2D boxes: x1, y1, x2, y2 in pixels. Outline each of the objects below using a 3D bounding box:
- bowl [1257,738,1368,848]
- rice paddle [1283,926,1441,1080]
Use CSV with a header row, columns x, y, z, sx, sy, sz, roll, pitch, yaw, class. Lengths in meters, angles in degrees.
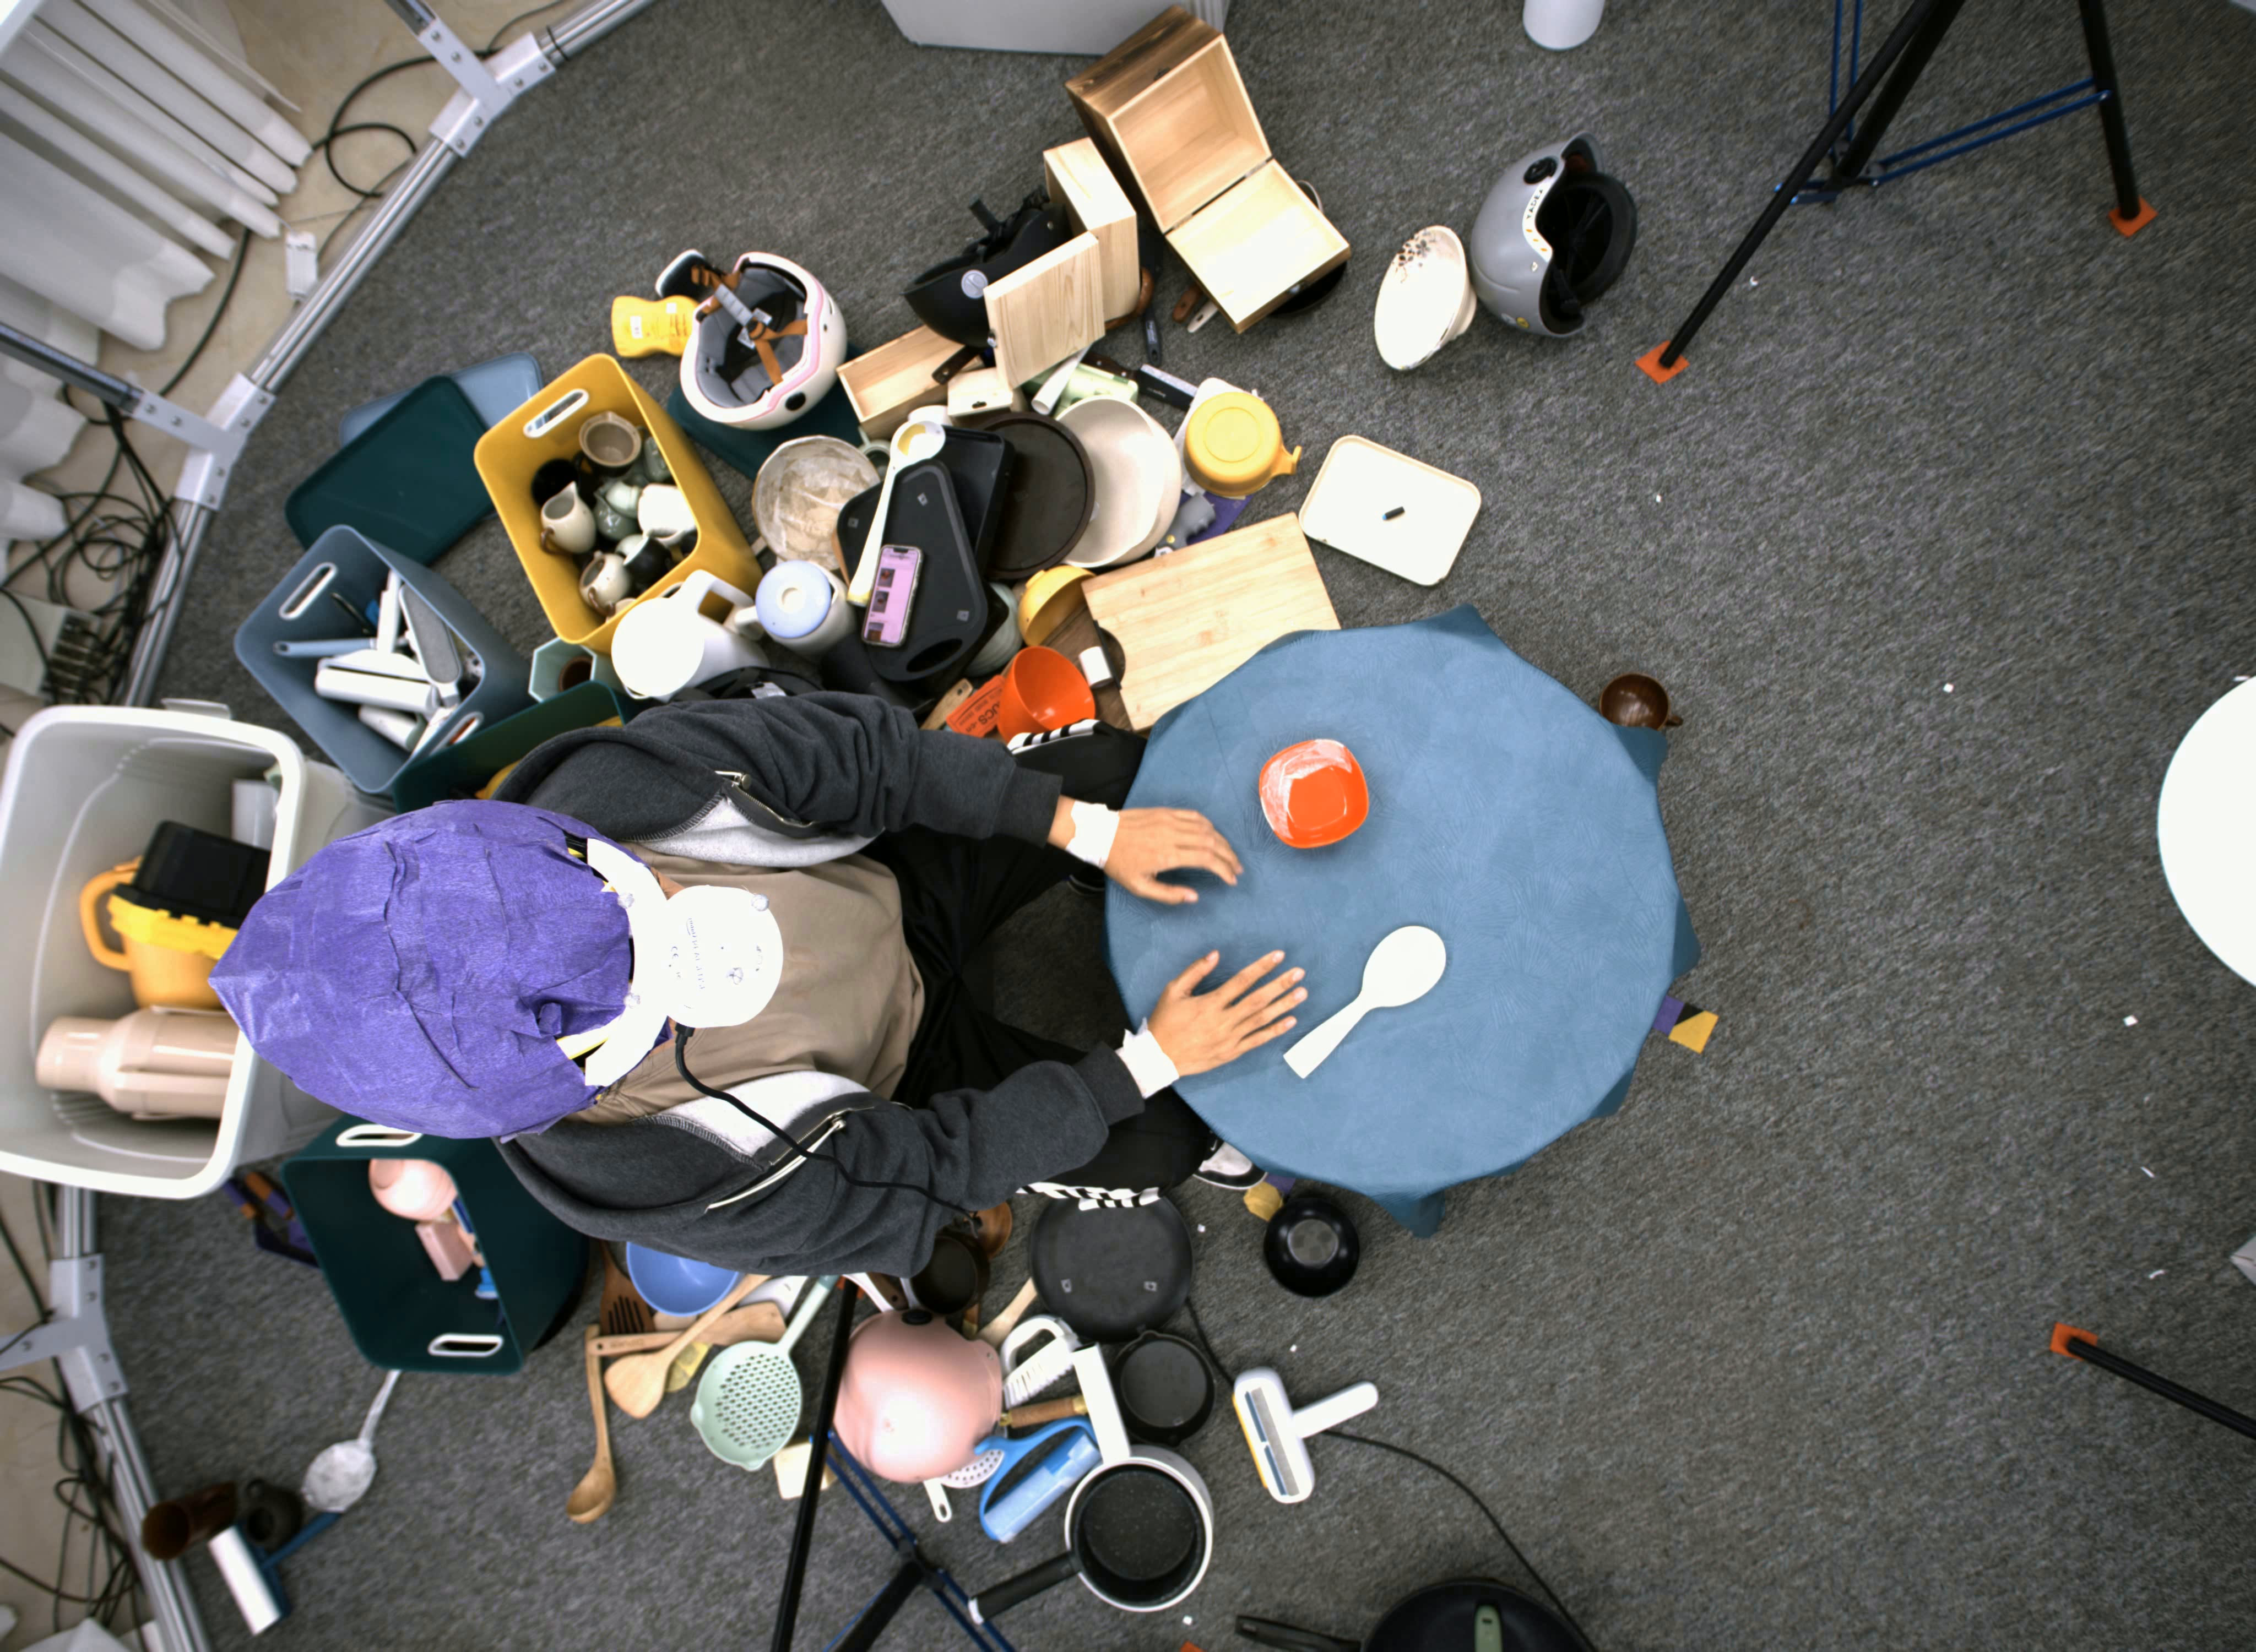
x,y,z,sx,sy,sz,roll,pitch,yaw,class
0.194,-0.032,1.452,0.119,0.051,0.118,-1,86,9,bowl
0.244,0.182,1.442,0.206,0.029,0.068,-44,82,5,rice paddle
